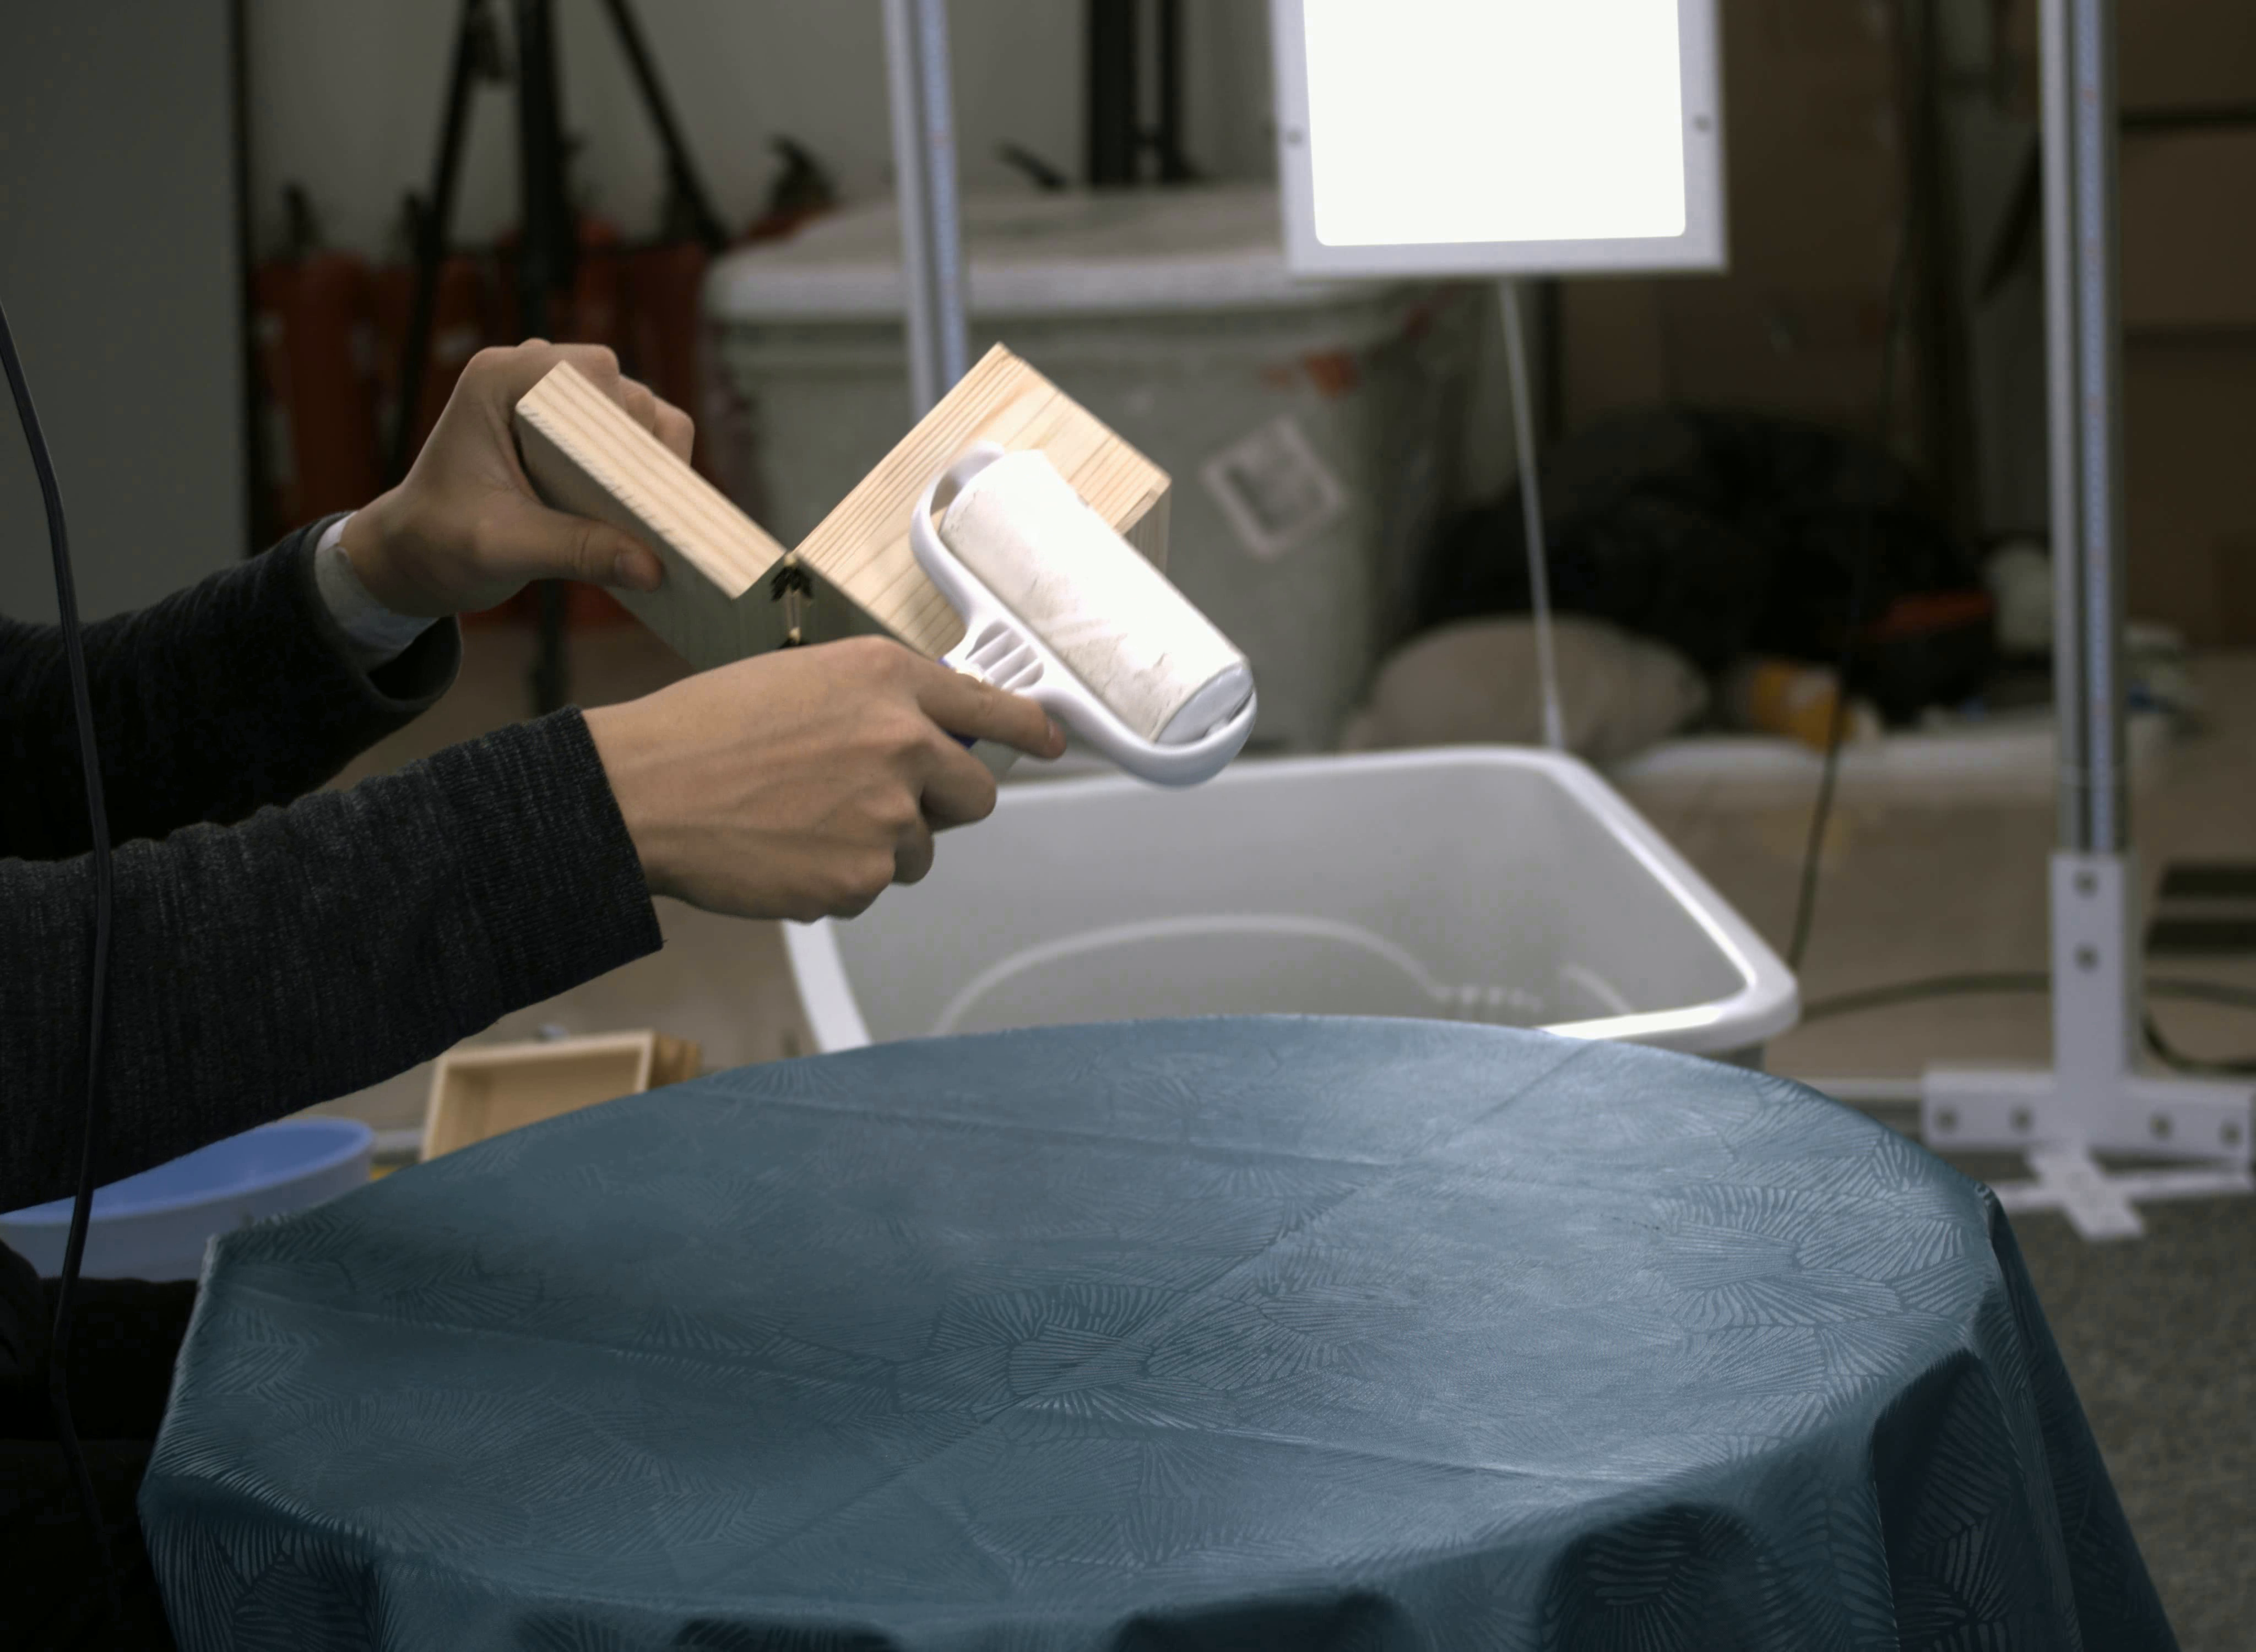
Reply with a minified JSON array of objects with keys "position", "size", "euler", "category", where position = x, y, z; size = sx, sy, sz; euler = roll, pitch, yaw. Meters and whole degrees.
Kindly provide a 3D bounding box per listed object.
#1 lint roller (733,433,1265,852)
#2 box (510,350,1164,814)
[{"position":[-0.054,-0.047,1.704],"size":[0.176,0.051,0.134],"euler":[-30,67,-39],"category":"lint roller"},{"position":[-0.095,-0.106,1.839],"size":[0.132,0.186,0.103],"euler":[-46,-16,-15],"category":"box"}]
